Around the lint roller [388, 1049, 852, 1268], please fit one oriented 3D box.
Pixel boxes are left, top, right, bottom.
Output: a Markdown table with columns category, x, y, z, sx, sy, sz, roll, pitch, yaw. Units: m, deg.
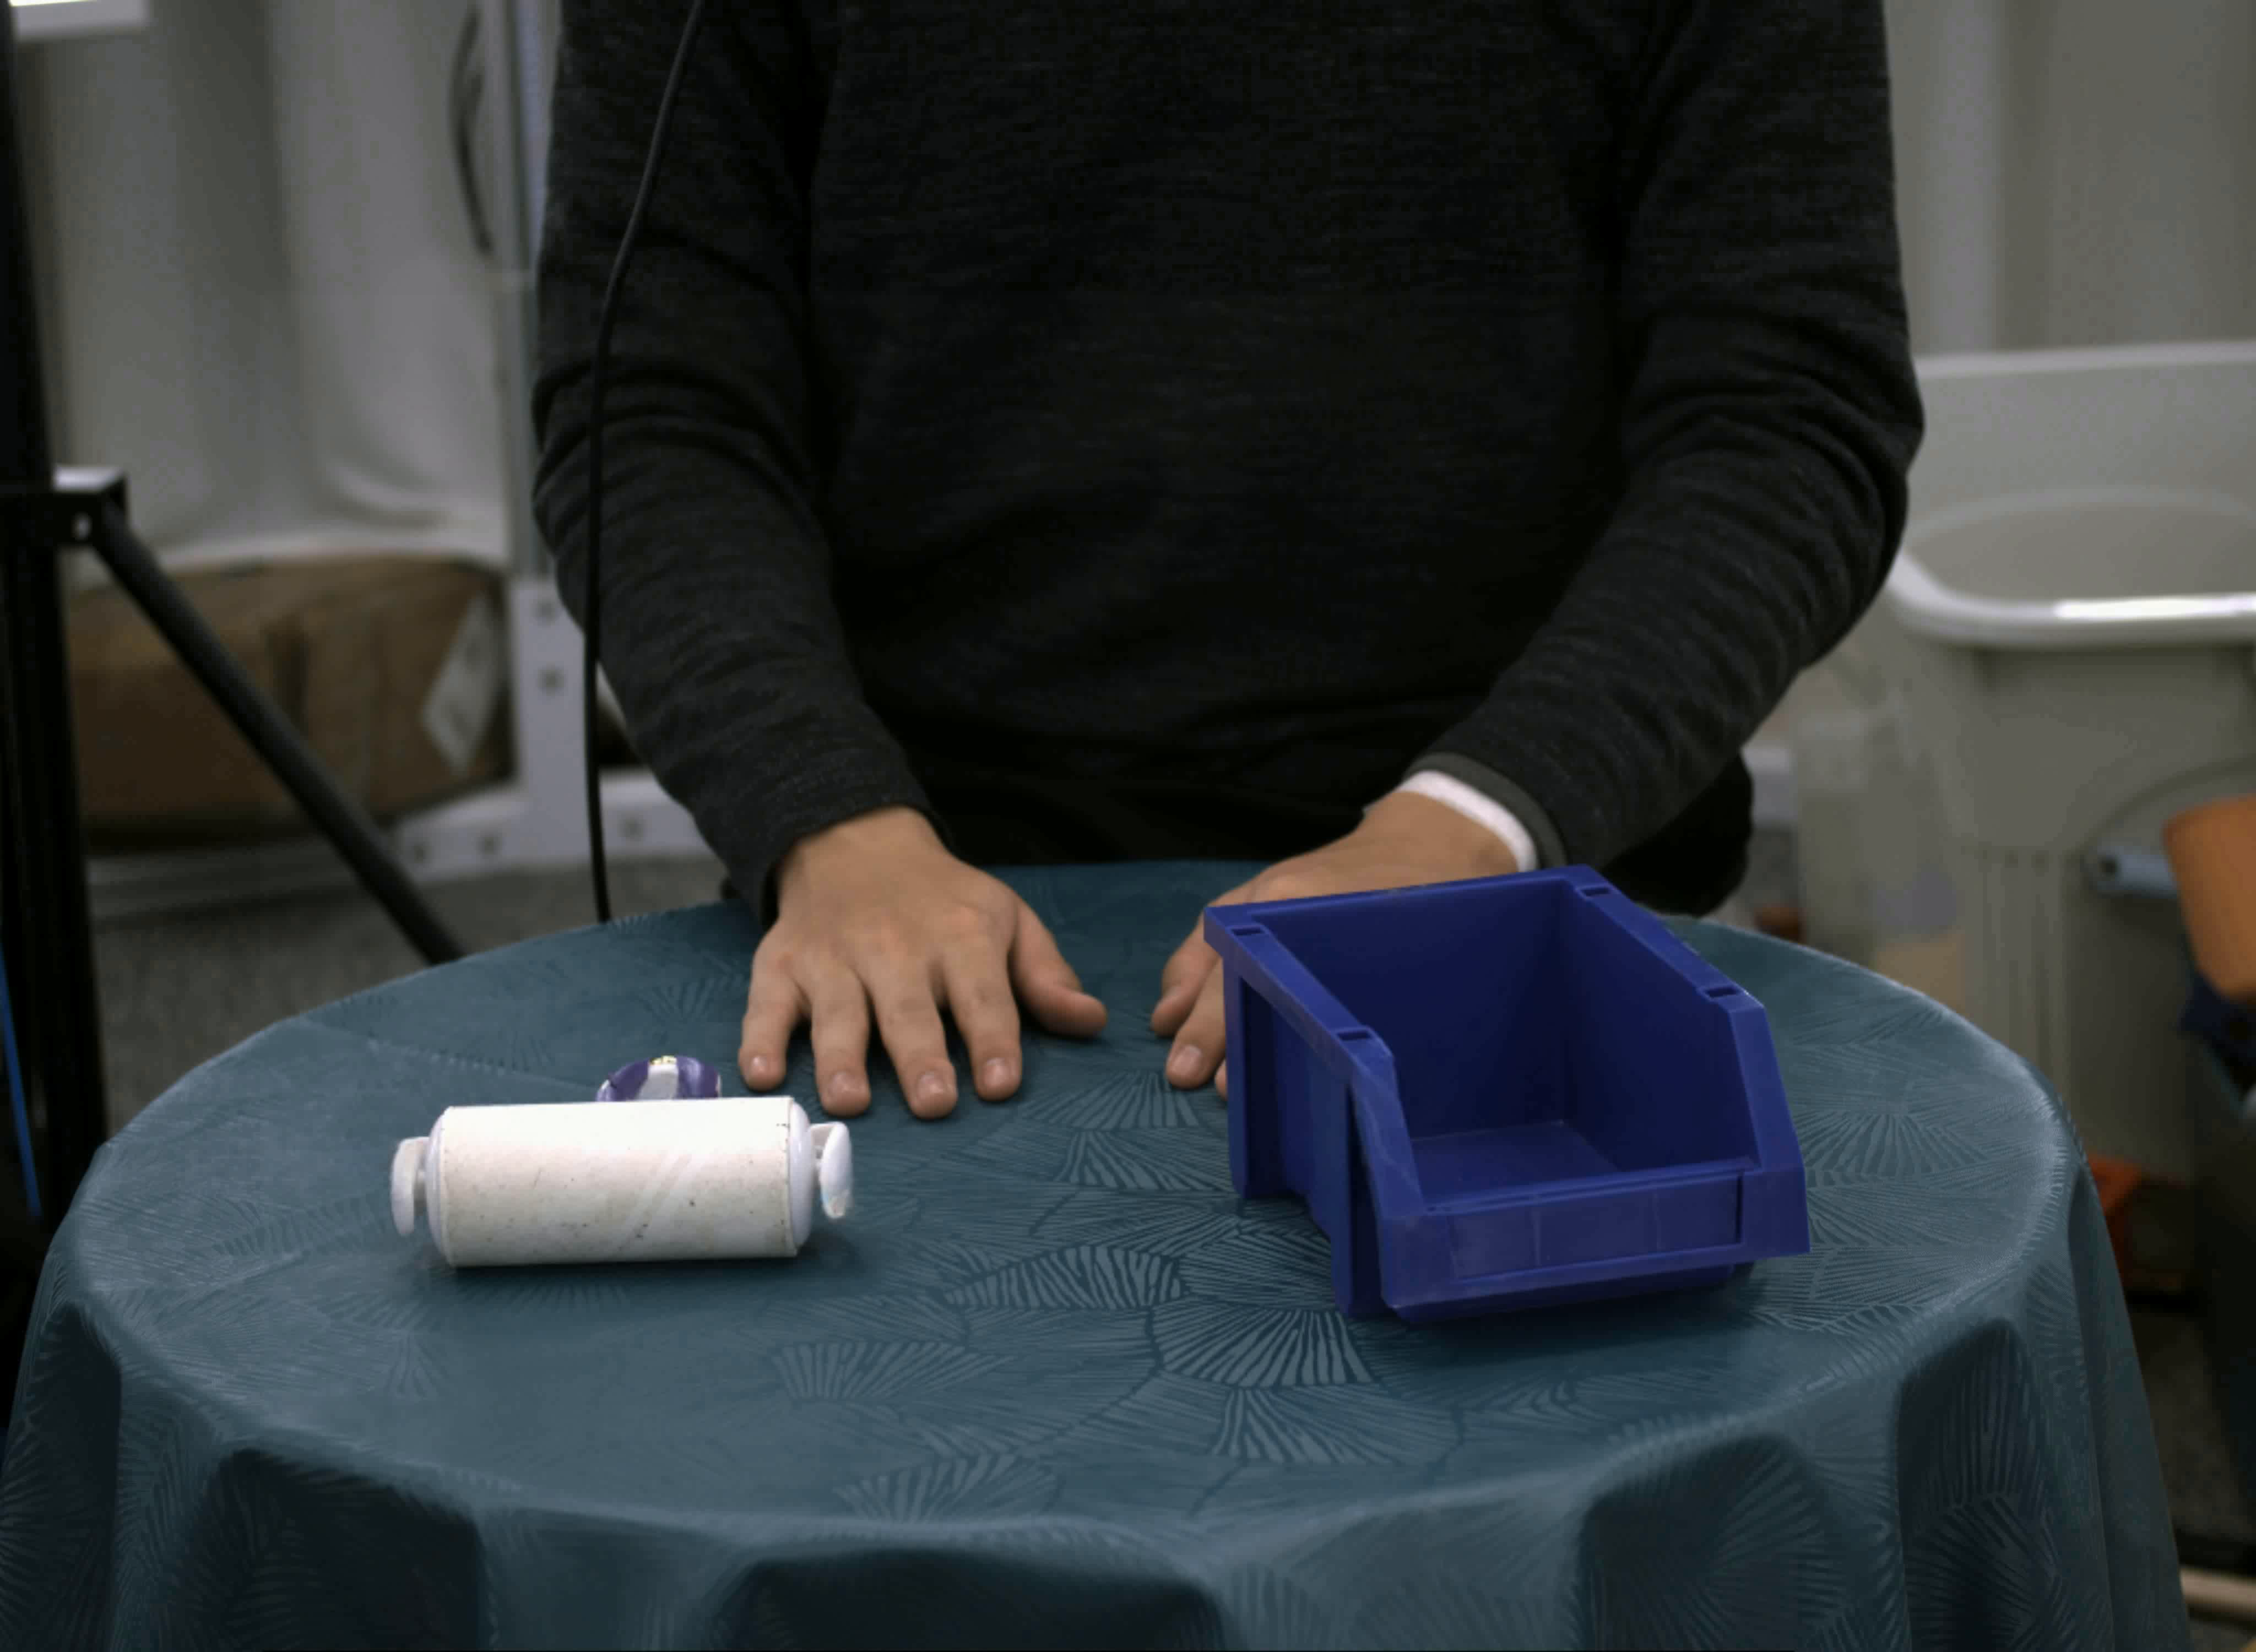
| category | x | y | z | sx | sy | sz | roll | pitch | yaw |
| --- | --- | --- | --- | --- | --- | --- | --- | --- | --- |
| lint roller | -0.143 | 0.083 | 1.583 | 0.133 | 0.050 | 0.181 | -3 | 18 | 4 |

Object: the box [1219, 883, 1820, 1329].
| category | x | y | z | sx | sy | sz | roll | pitch | yaw |
| --- | --- | --- | --- | --- | --- | --- | --- | --- | --- |
| box | 0.109 | 0.081 | 1.487 | 0.123 | 0.082 | 0.181 | -5 | 13 | -12 |
